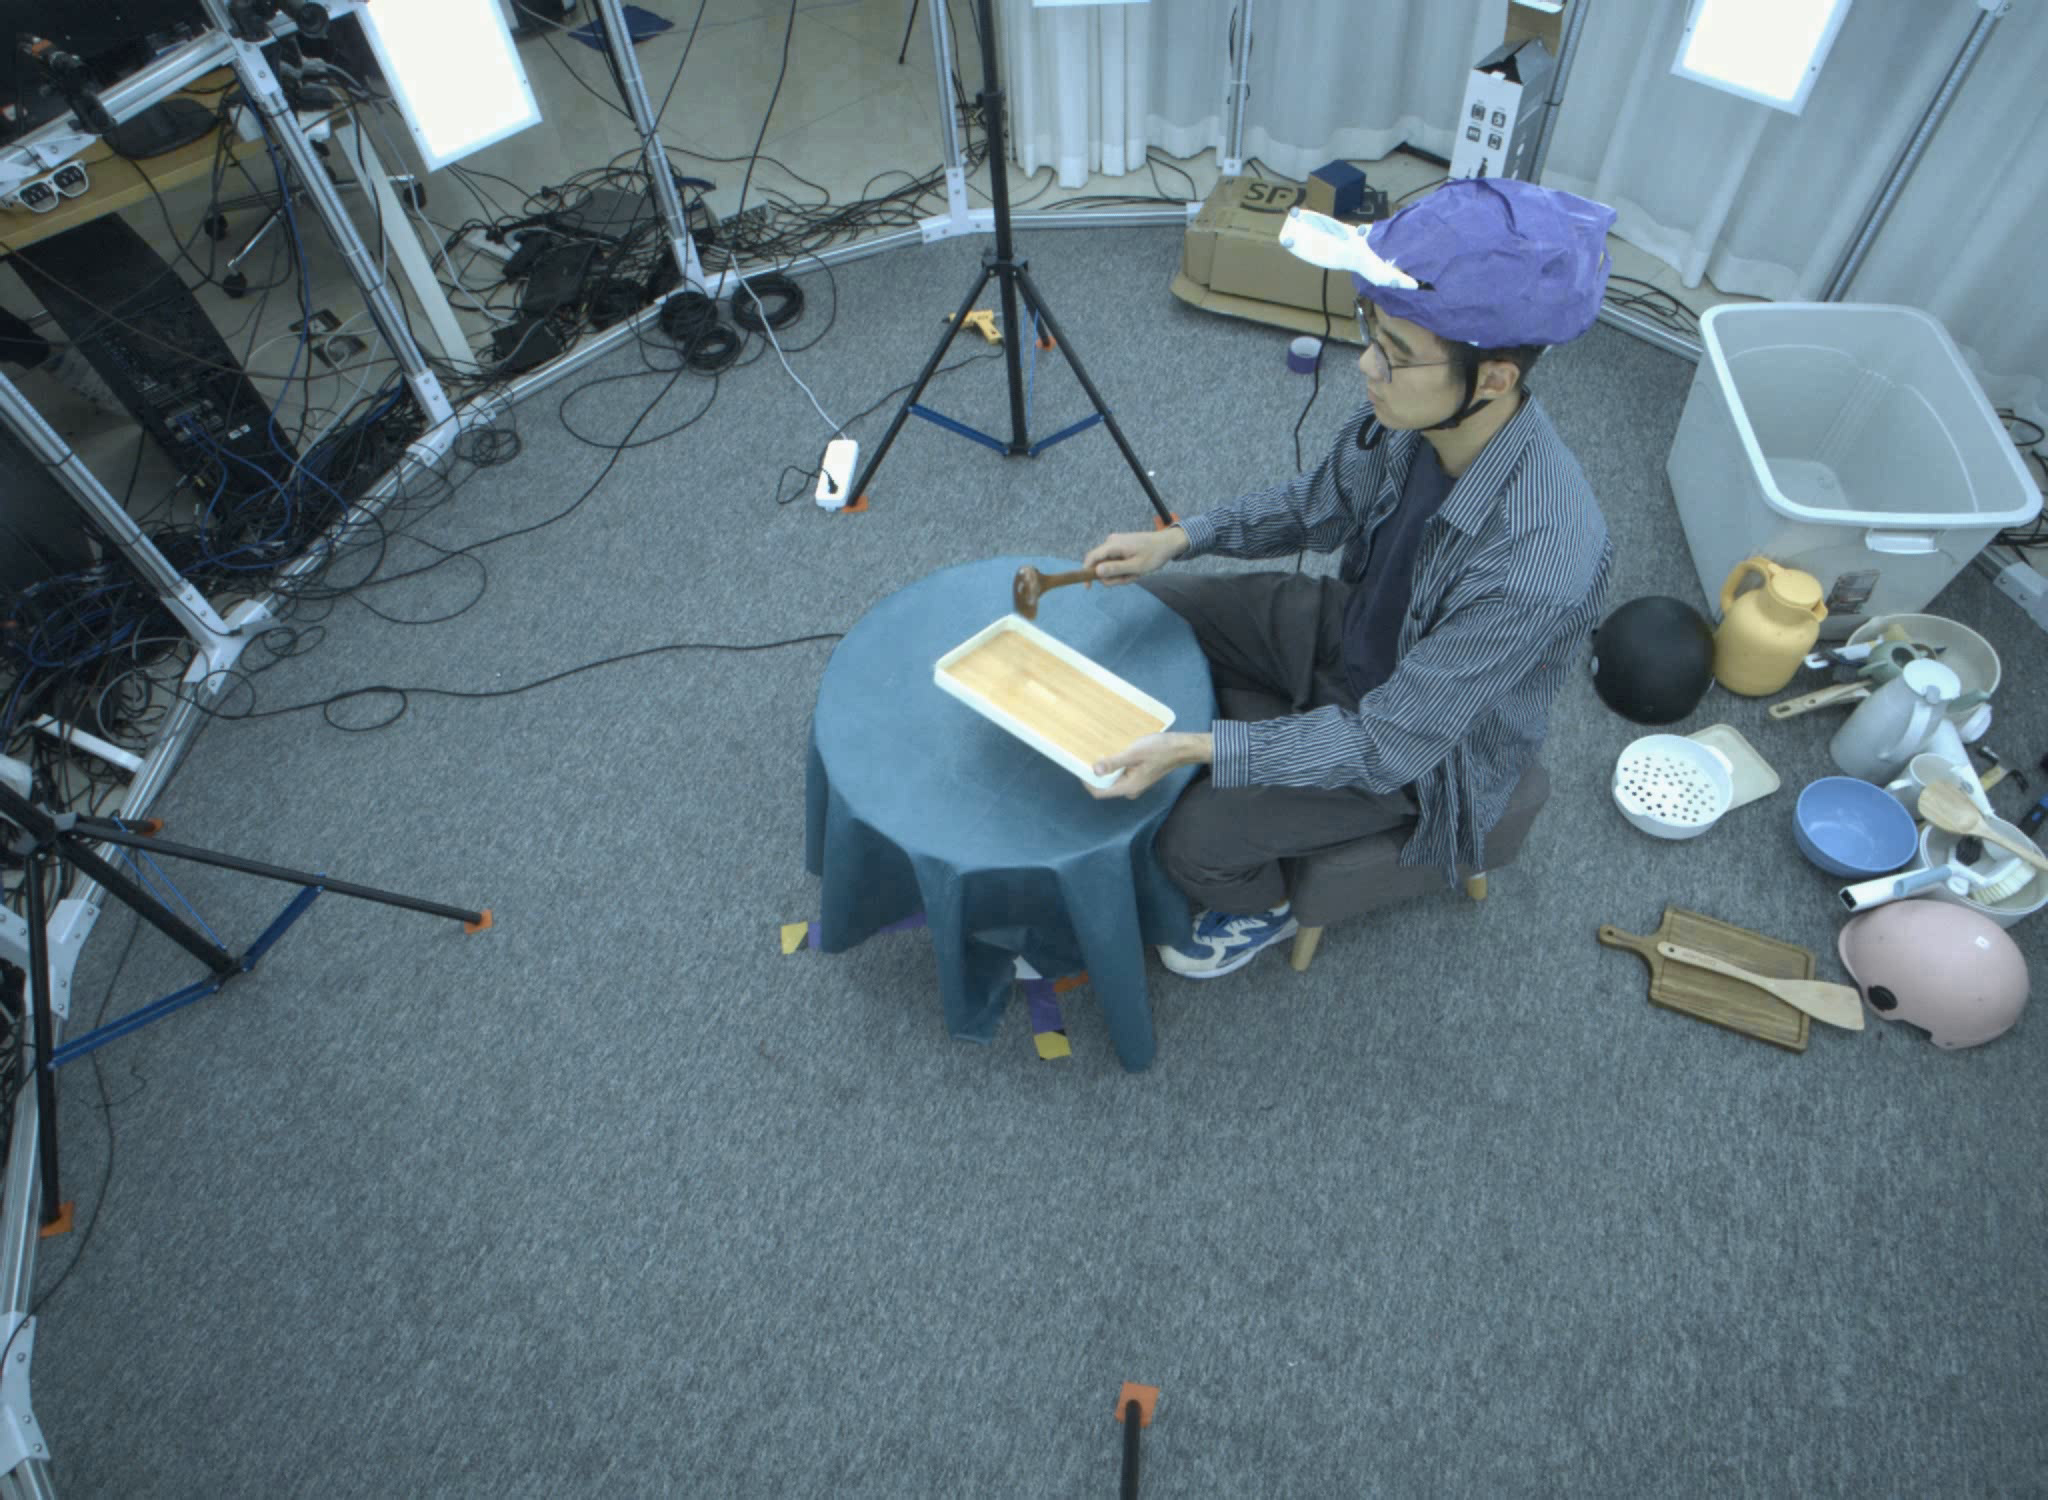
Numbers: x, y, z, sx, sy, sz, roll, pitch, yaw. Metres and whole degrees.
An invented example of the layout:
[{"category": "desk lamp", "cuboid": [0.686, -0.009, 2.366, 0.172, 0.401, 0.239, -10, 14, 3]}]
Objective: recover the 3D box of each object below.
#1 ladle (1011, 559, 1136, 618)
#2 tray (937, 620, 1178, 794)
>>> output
[{"category": "ladle", "cuboid": [0.085, -0.246, 1.776, 0.279, 0.082, 0.075, -14, 31, -40]}, {"category": "tray", "cuboid": [0.047, -0.065, 1.700, 0.296, 0.027, 0.193, 34, 44, 16]}]
